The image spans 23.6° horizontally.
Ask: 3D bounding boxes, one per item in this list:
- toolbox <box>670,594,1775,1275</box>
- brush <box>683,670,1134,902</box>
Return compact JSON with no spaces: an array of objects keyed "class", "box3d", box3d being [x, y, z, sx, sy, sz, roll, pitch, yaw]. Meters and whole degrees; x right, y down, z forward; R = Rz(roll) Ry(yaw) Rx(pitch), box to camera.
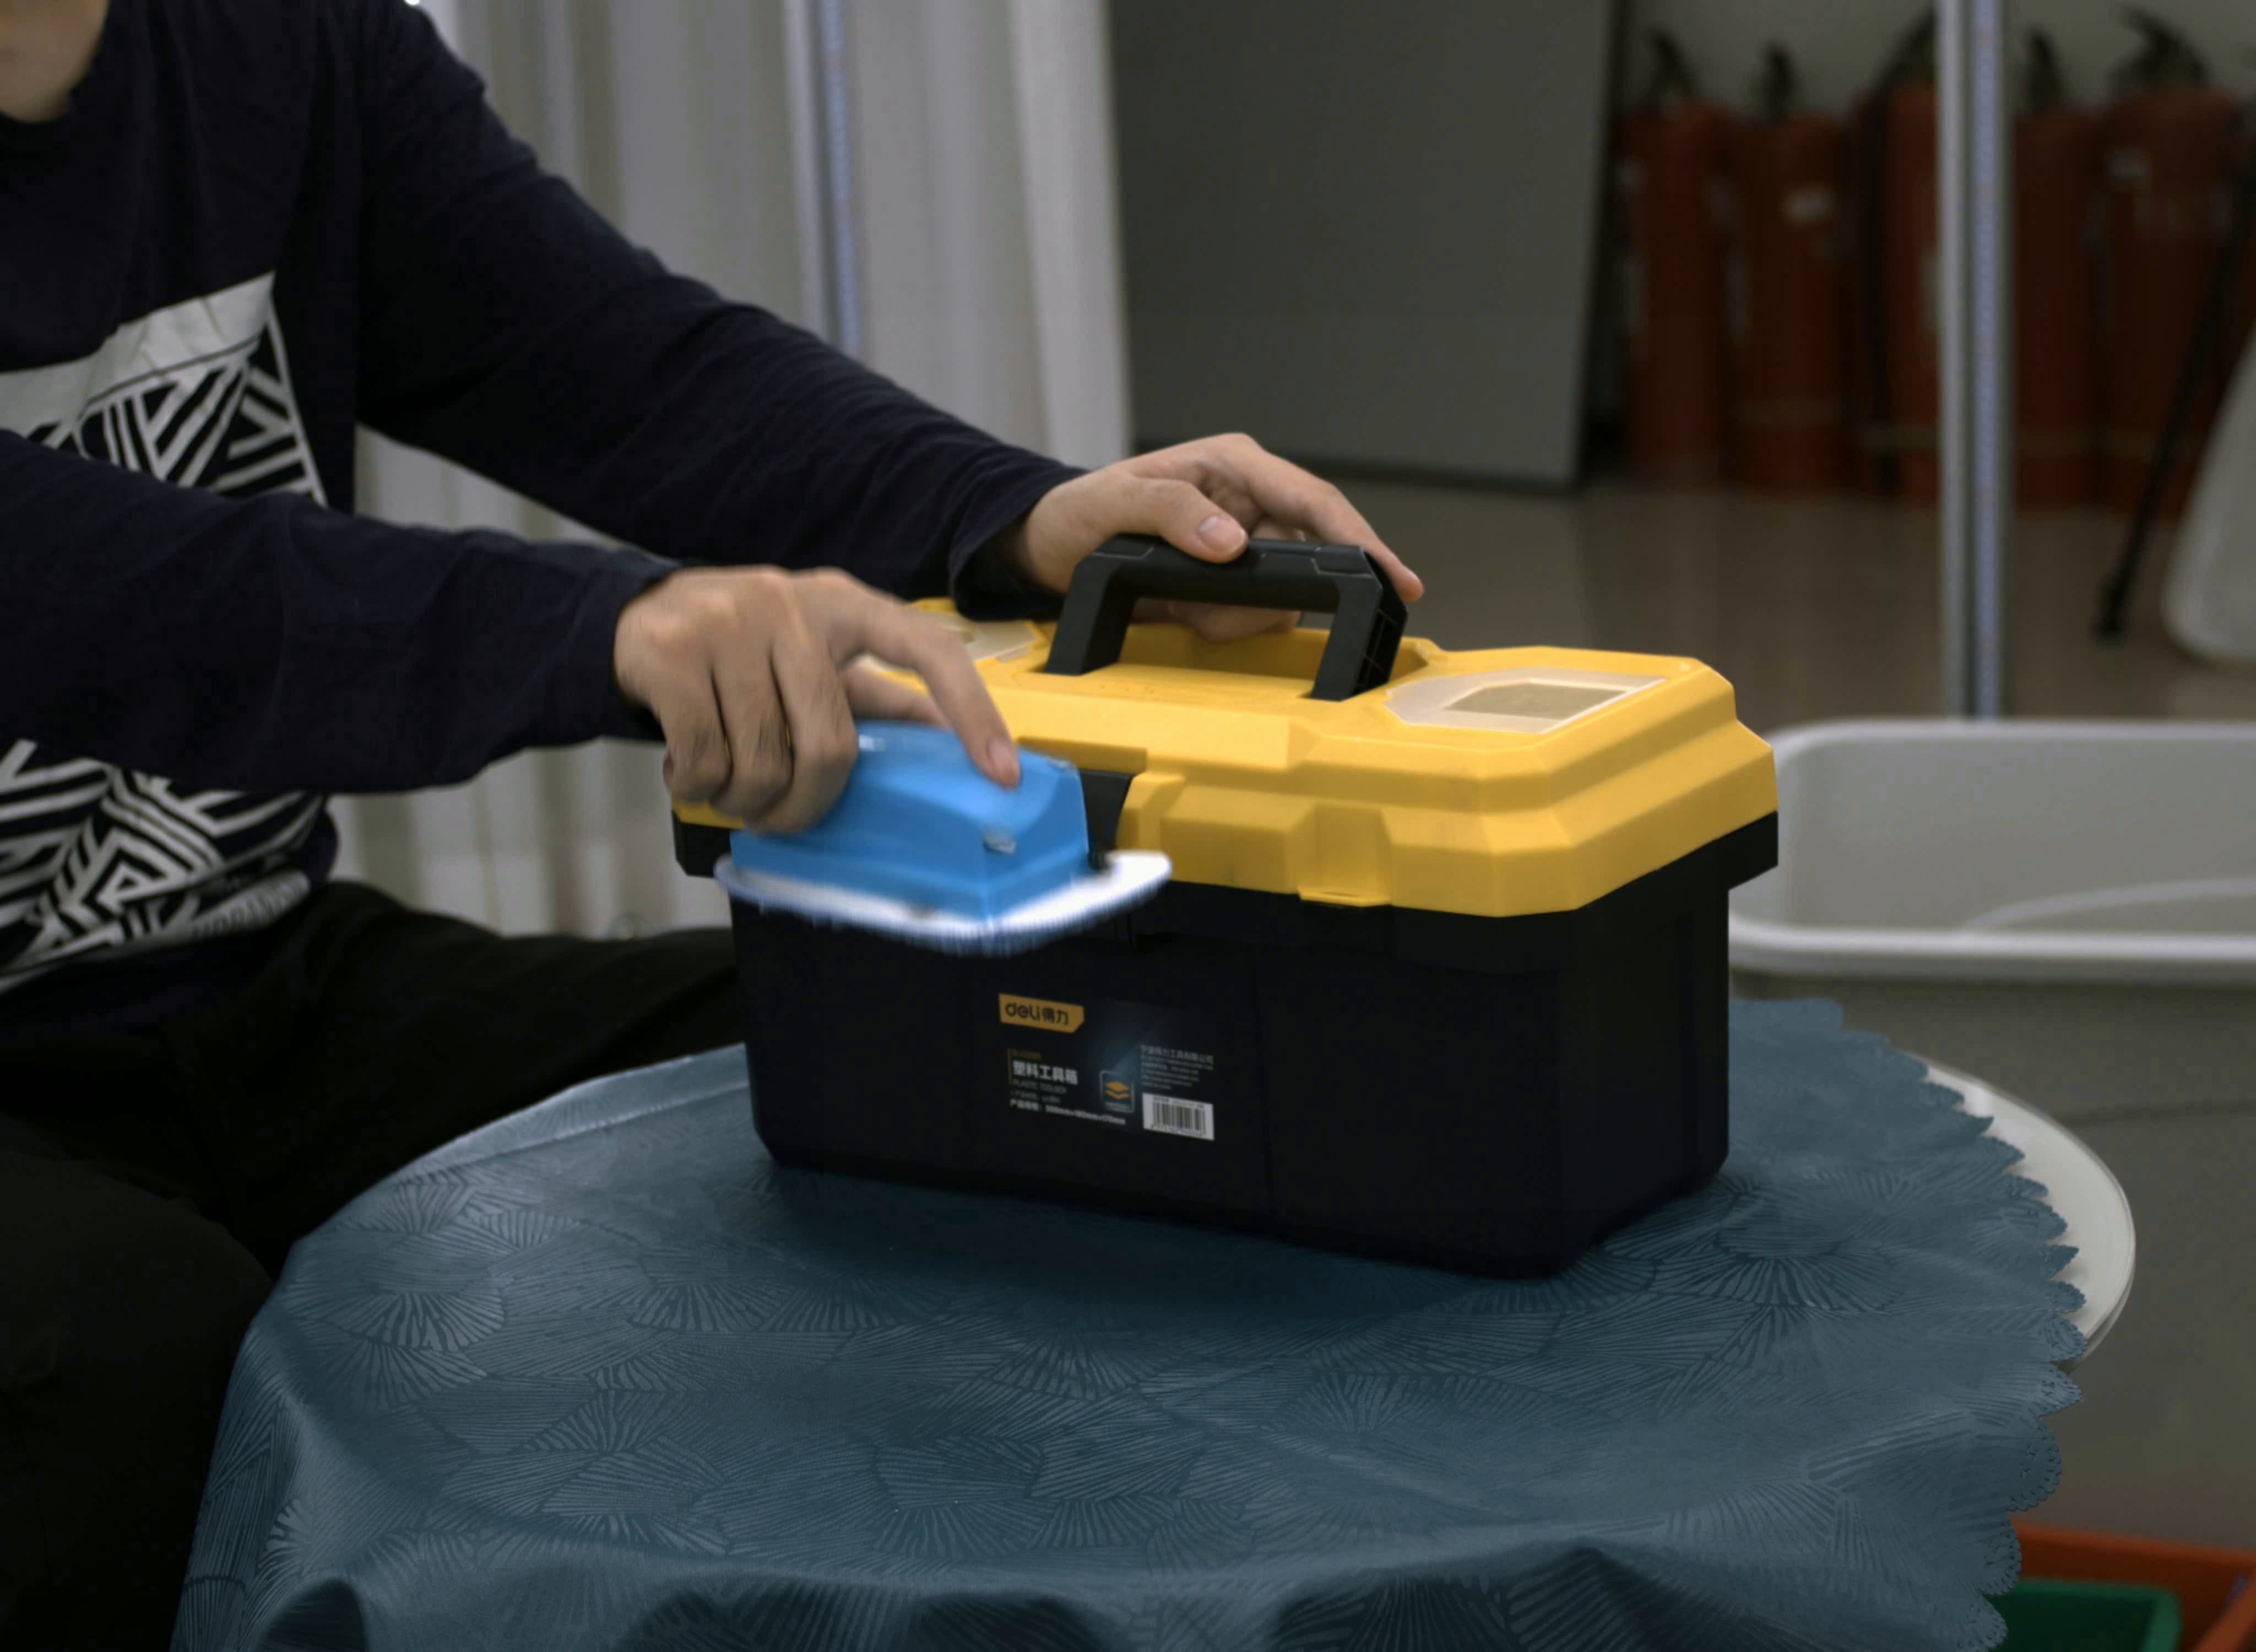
[{"class":"toolbox","box3d":[0.028,0.030,1.769,0.353,0.175,0.178,6,16,35]},{"class":"brush","box3d":[-0.067,-0.013,1.613,0.082,0.056,0.145,-17,20,-36]}]
